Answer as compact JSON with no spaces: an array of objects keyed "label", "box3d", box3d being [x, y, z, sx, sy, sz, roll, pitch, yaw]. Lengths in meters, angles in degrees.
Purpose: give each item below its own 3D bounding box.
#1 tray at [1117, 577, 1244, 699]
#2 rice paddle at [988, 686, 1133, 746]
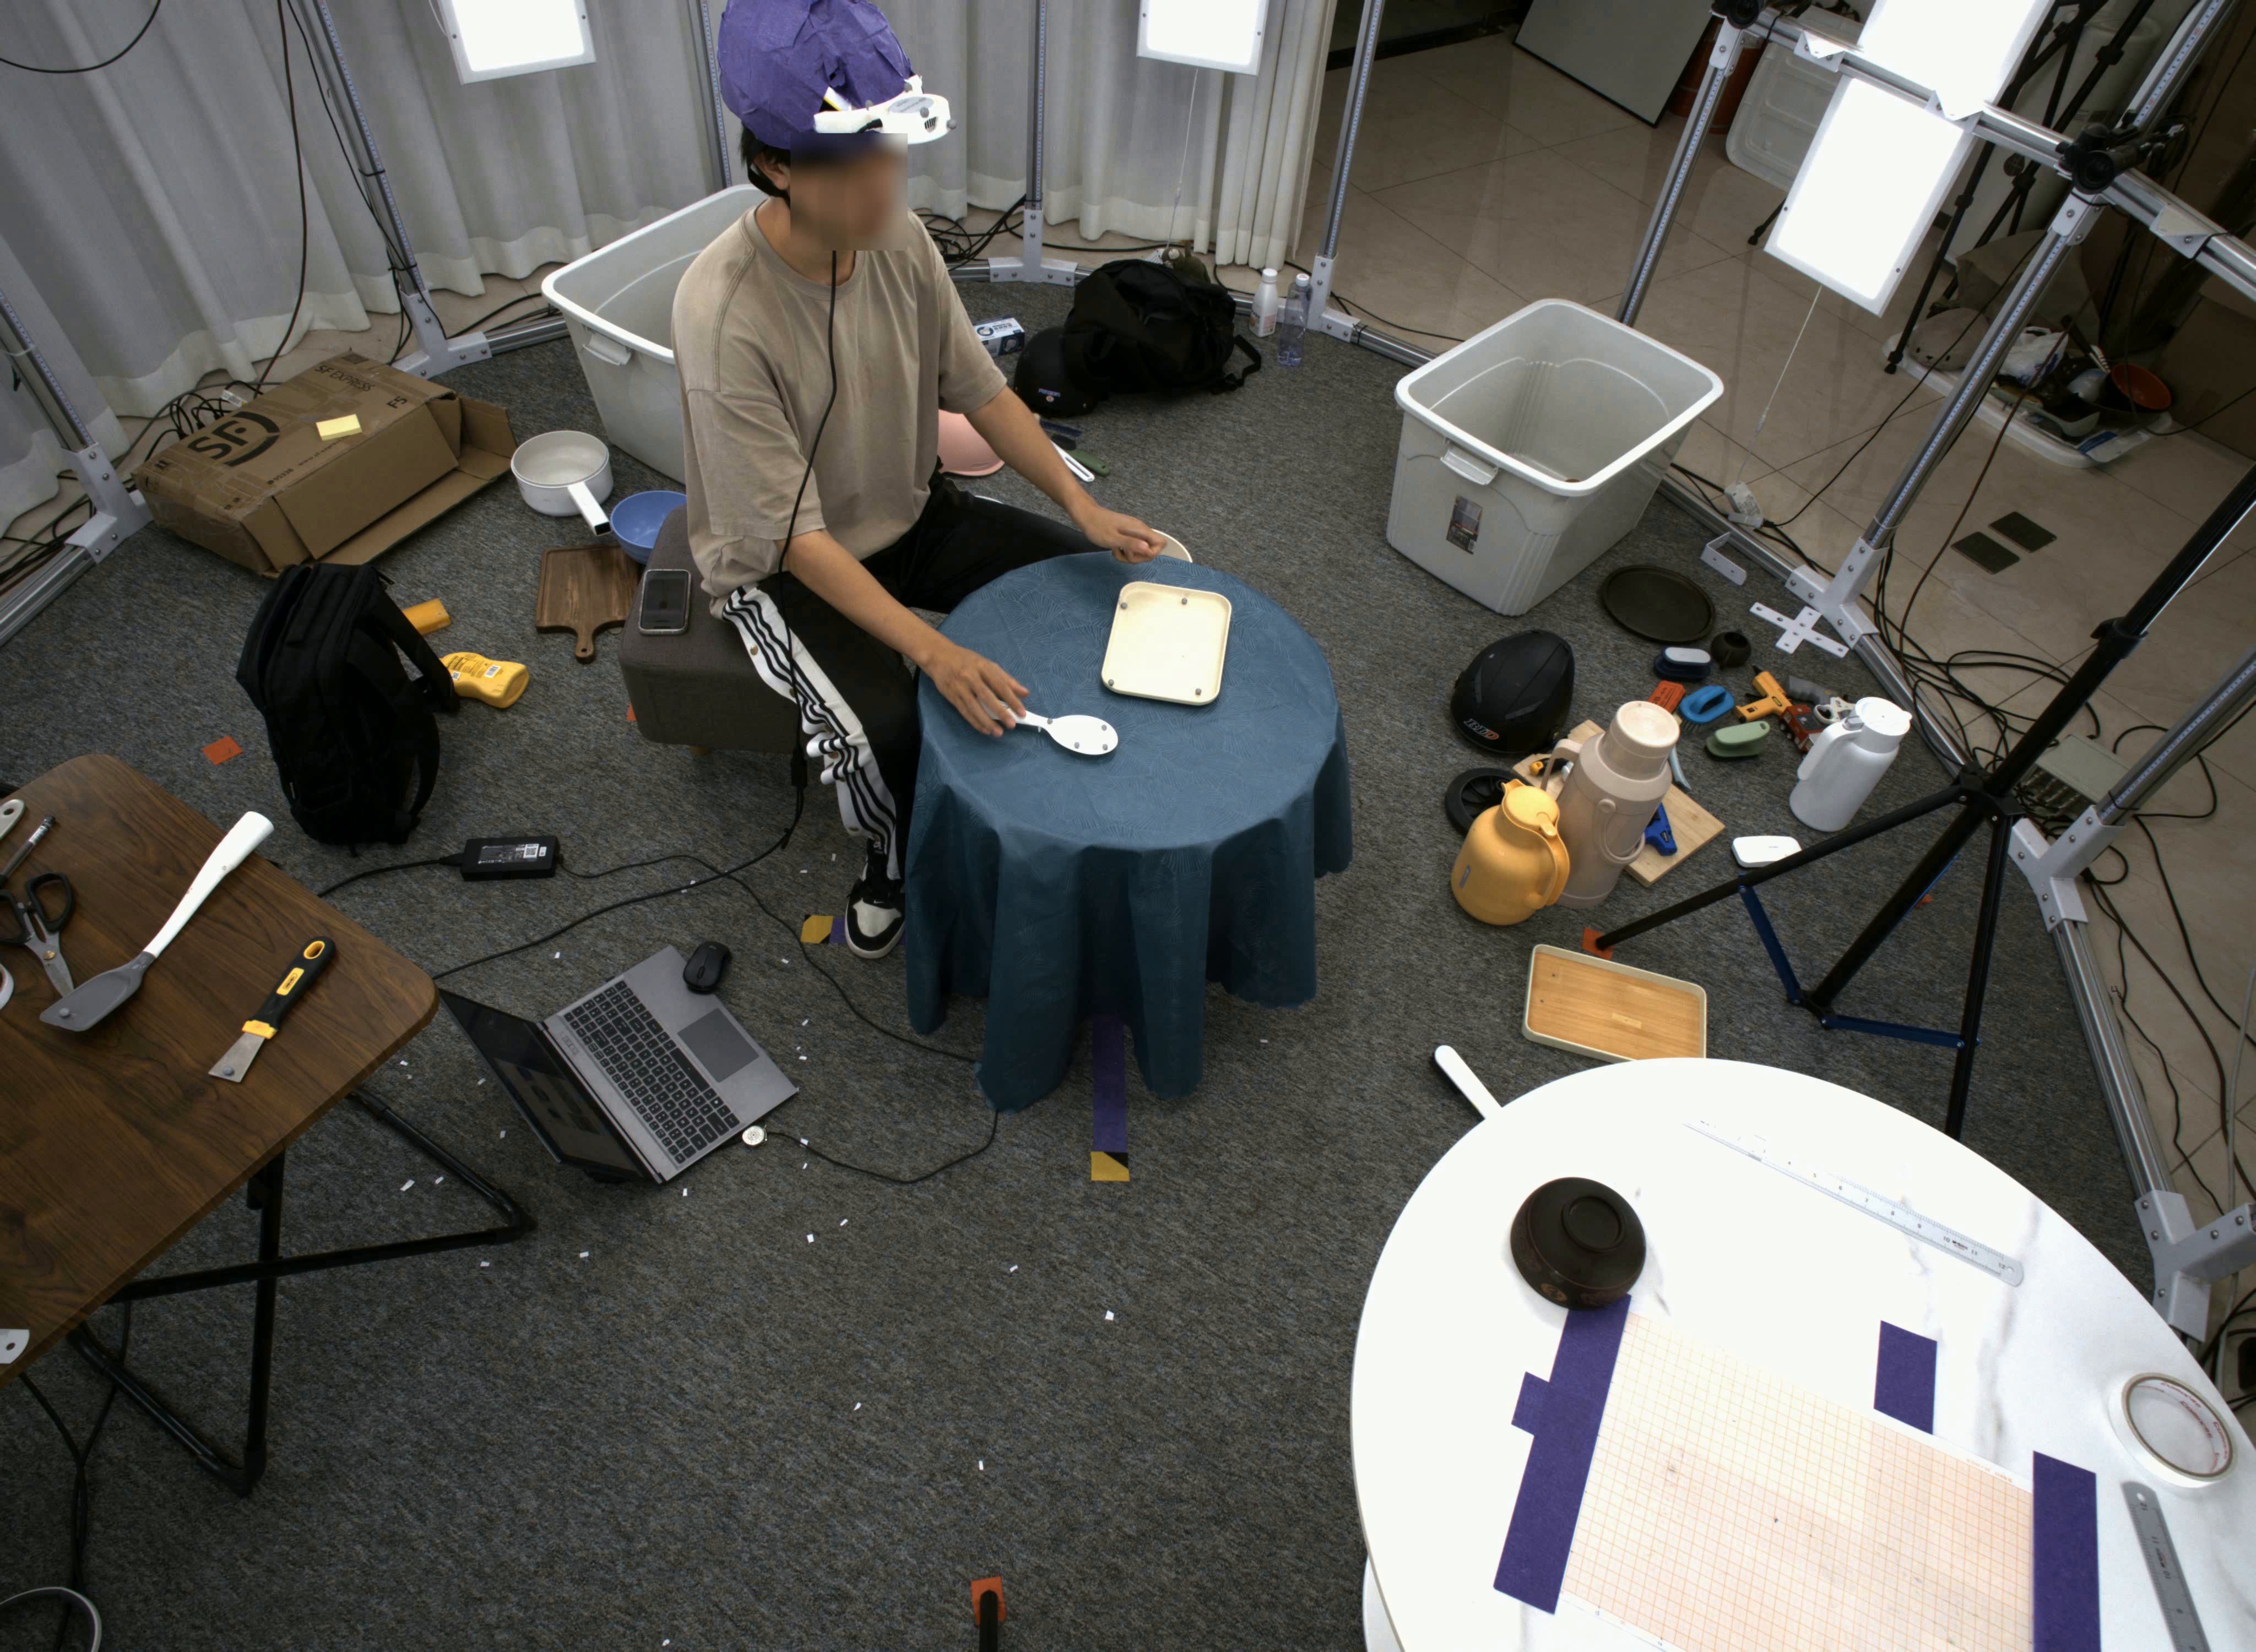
[{"label":"tray","box3d":[0.079,-0.277,1.892,0.171,0.017,0.245,9,48,2]},{"label":"rice paddle","box3d":[-0.091,-0.153,1.756,0.206,0.029,0.070,15,50,8]}]
